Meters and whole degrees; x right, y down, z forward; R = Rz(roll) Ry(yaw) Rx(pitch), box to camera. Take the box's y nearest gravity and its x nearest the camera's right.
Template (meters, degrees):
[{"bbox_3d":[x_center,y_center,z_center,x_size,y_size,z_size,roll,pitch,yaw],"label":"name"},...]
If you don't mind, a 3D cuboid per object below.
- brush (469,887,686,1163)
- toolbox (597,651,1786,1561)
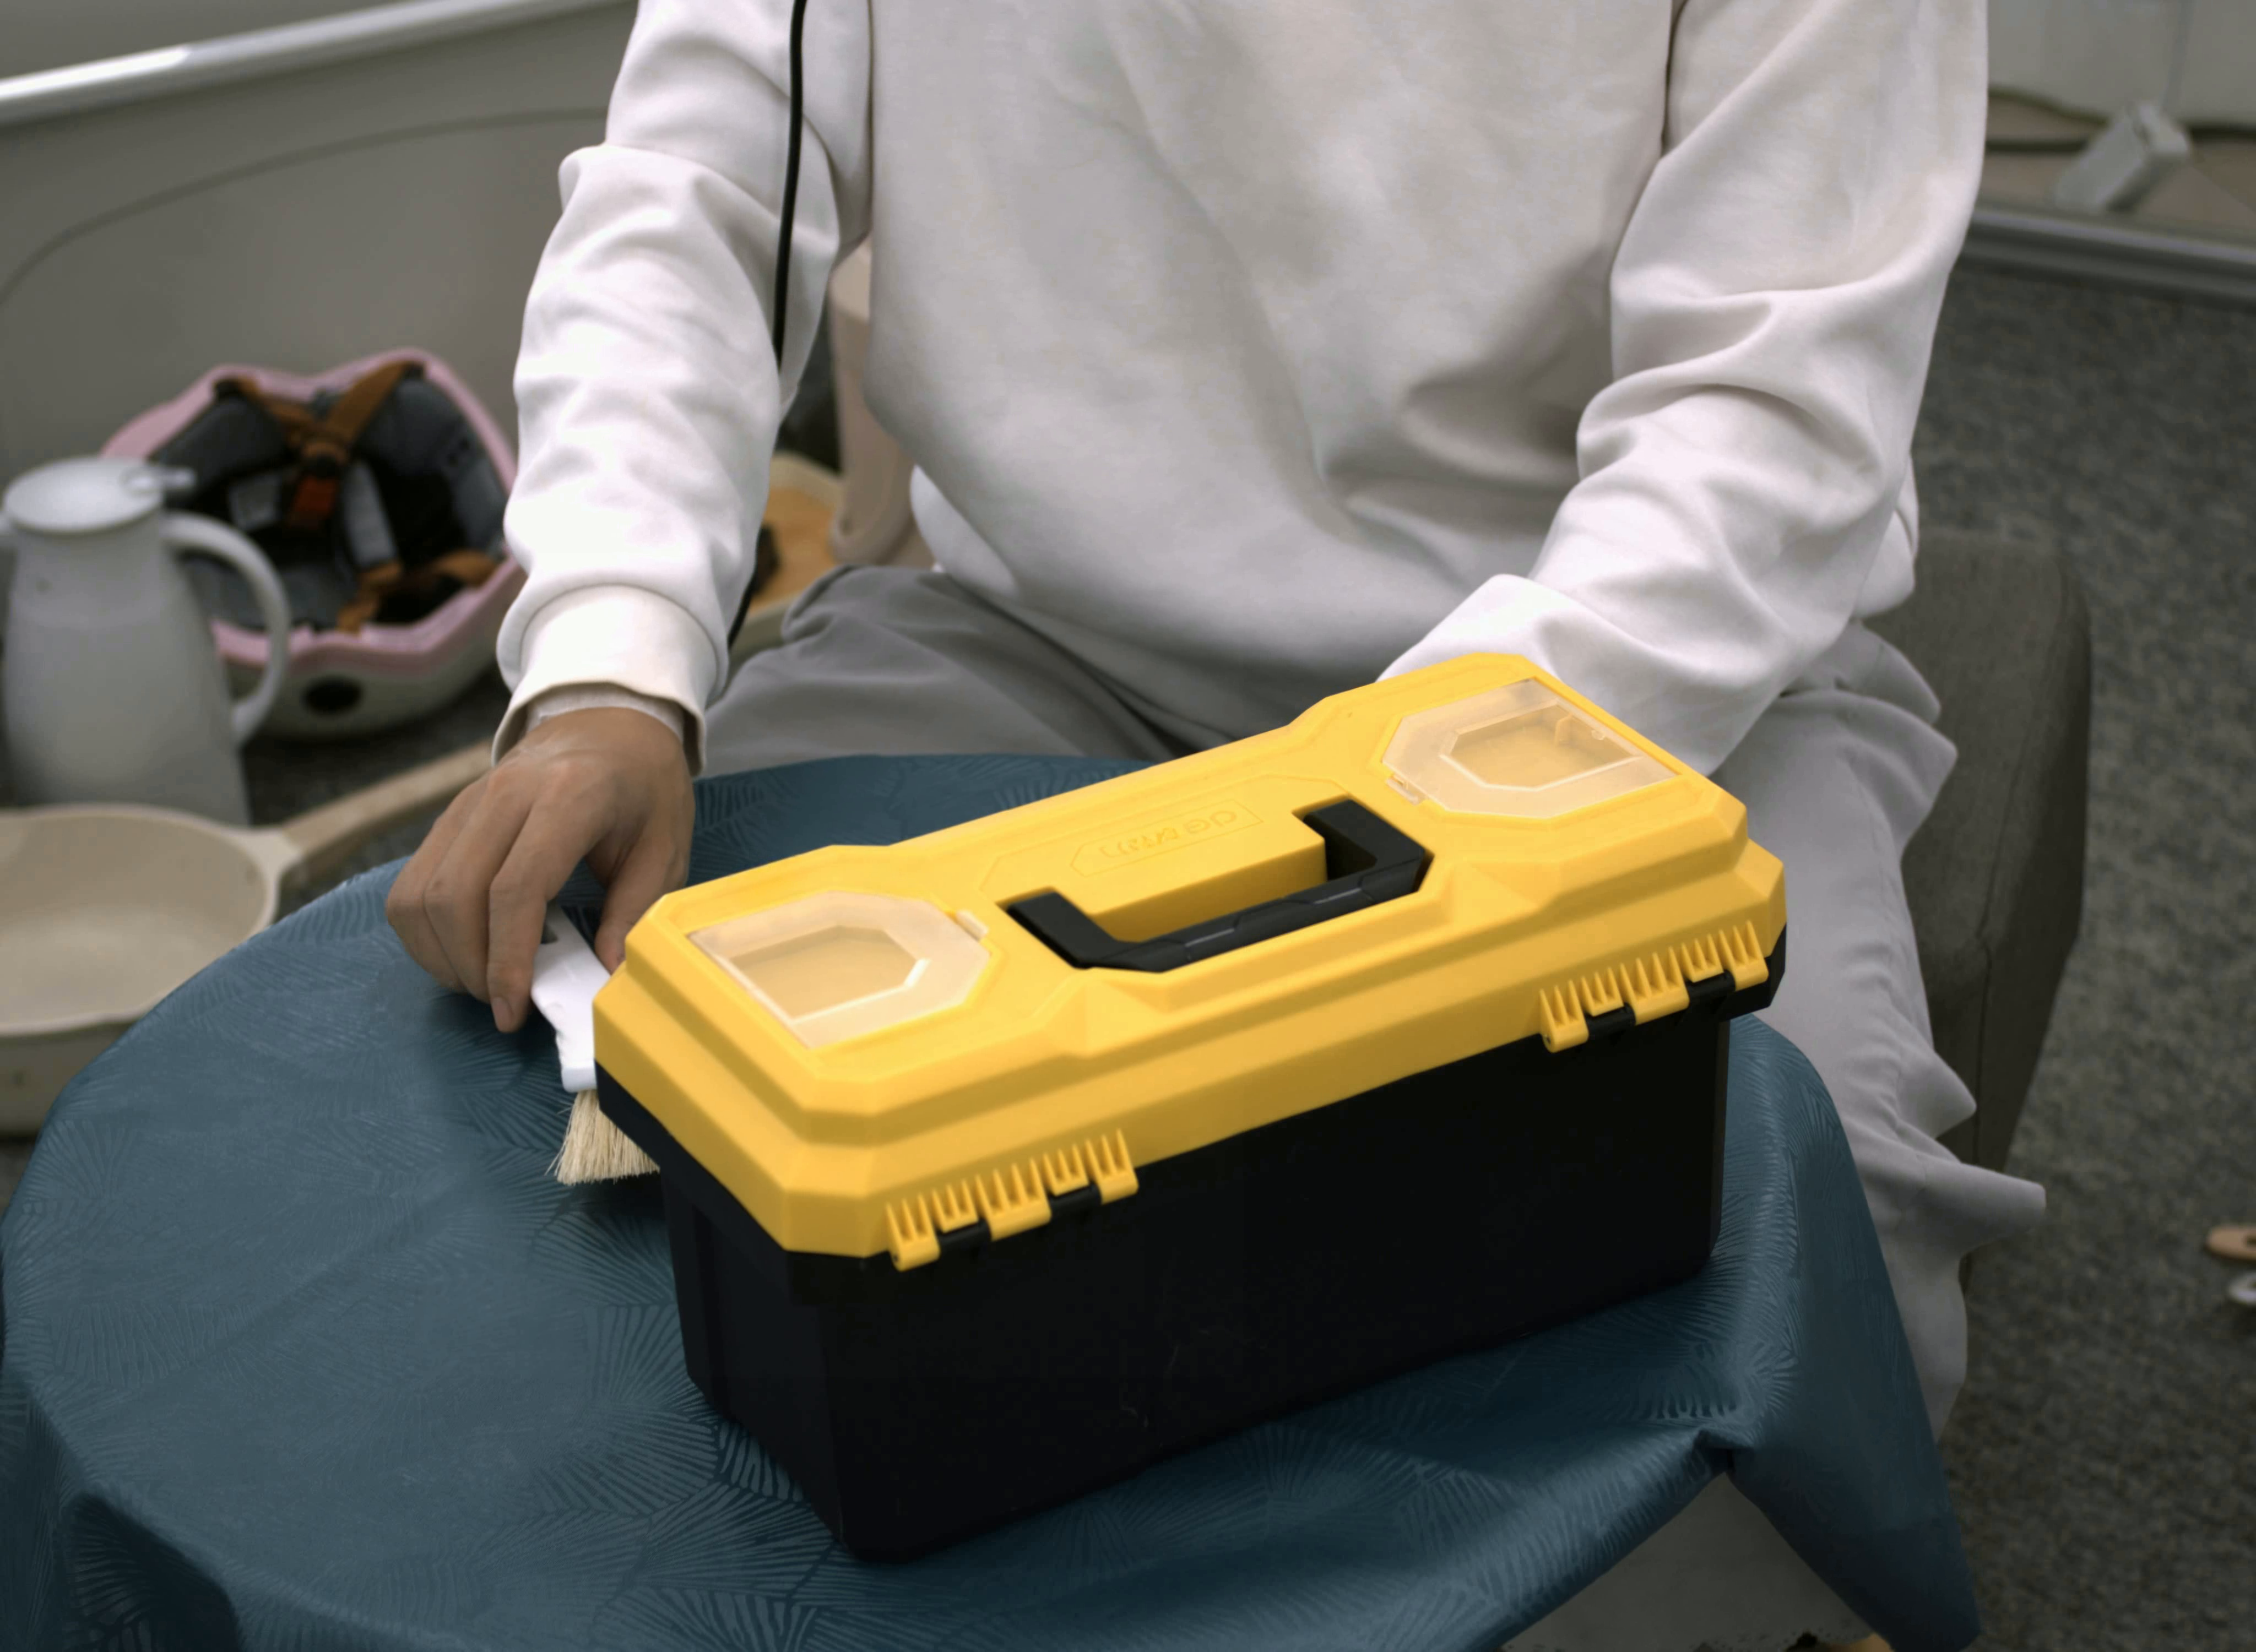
[{"bbox_3d":[-0.187,0.072,1.961,0.068,0.056,0.266,6,7,-22],"label":"brush"},{"bbox_3d":[0.022,0.082,1.752,0.353,0.171,0.182,-16,31,-26],"label":"toolbox"}]
